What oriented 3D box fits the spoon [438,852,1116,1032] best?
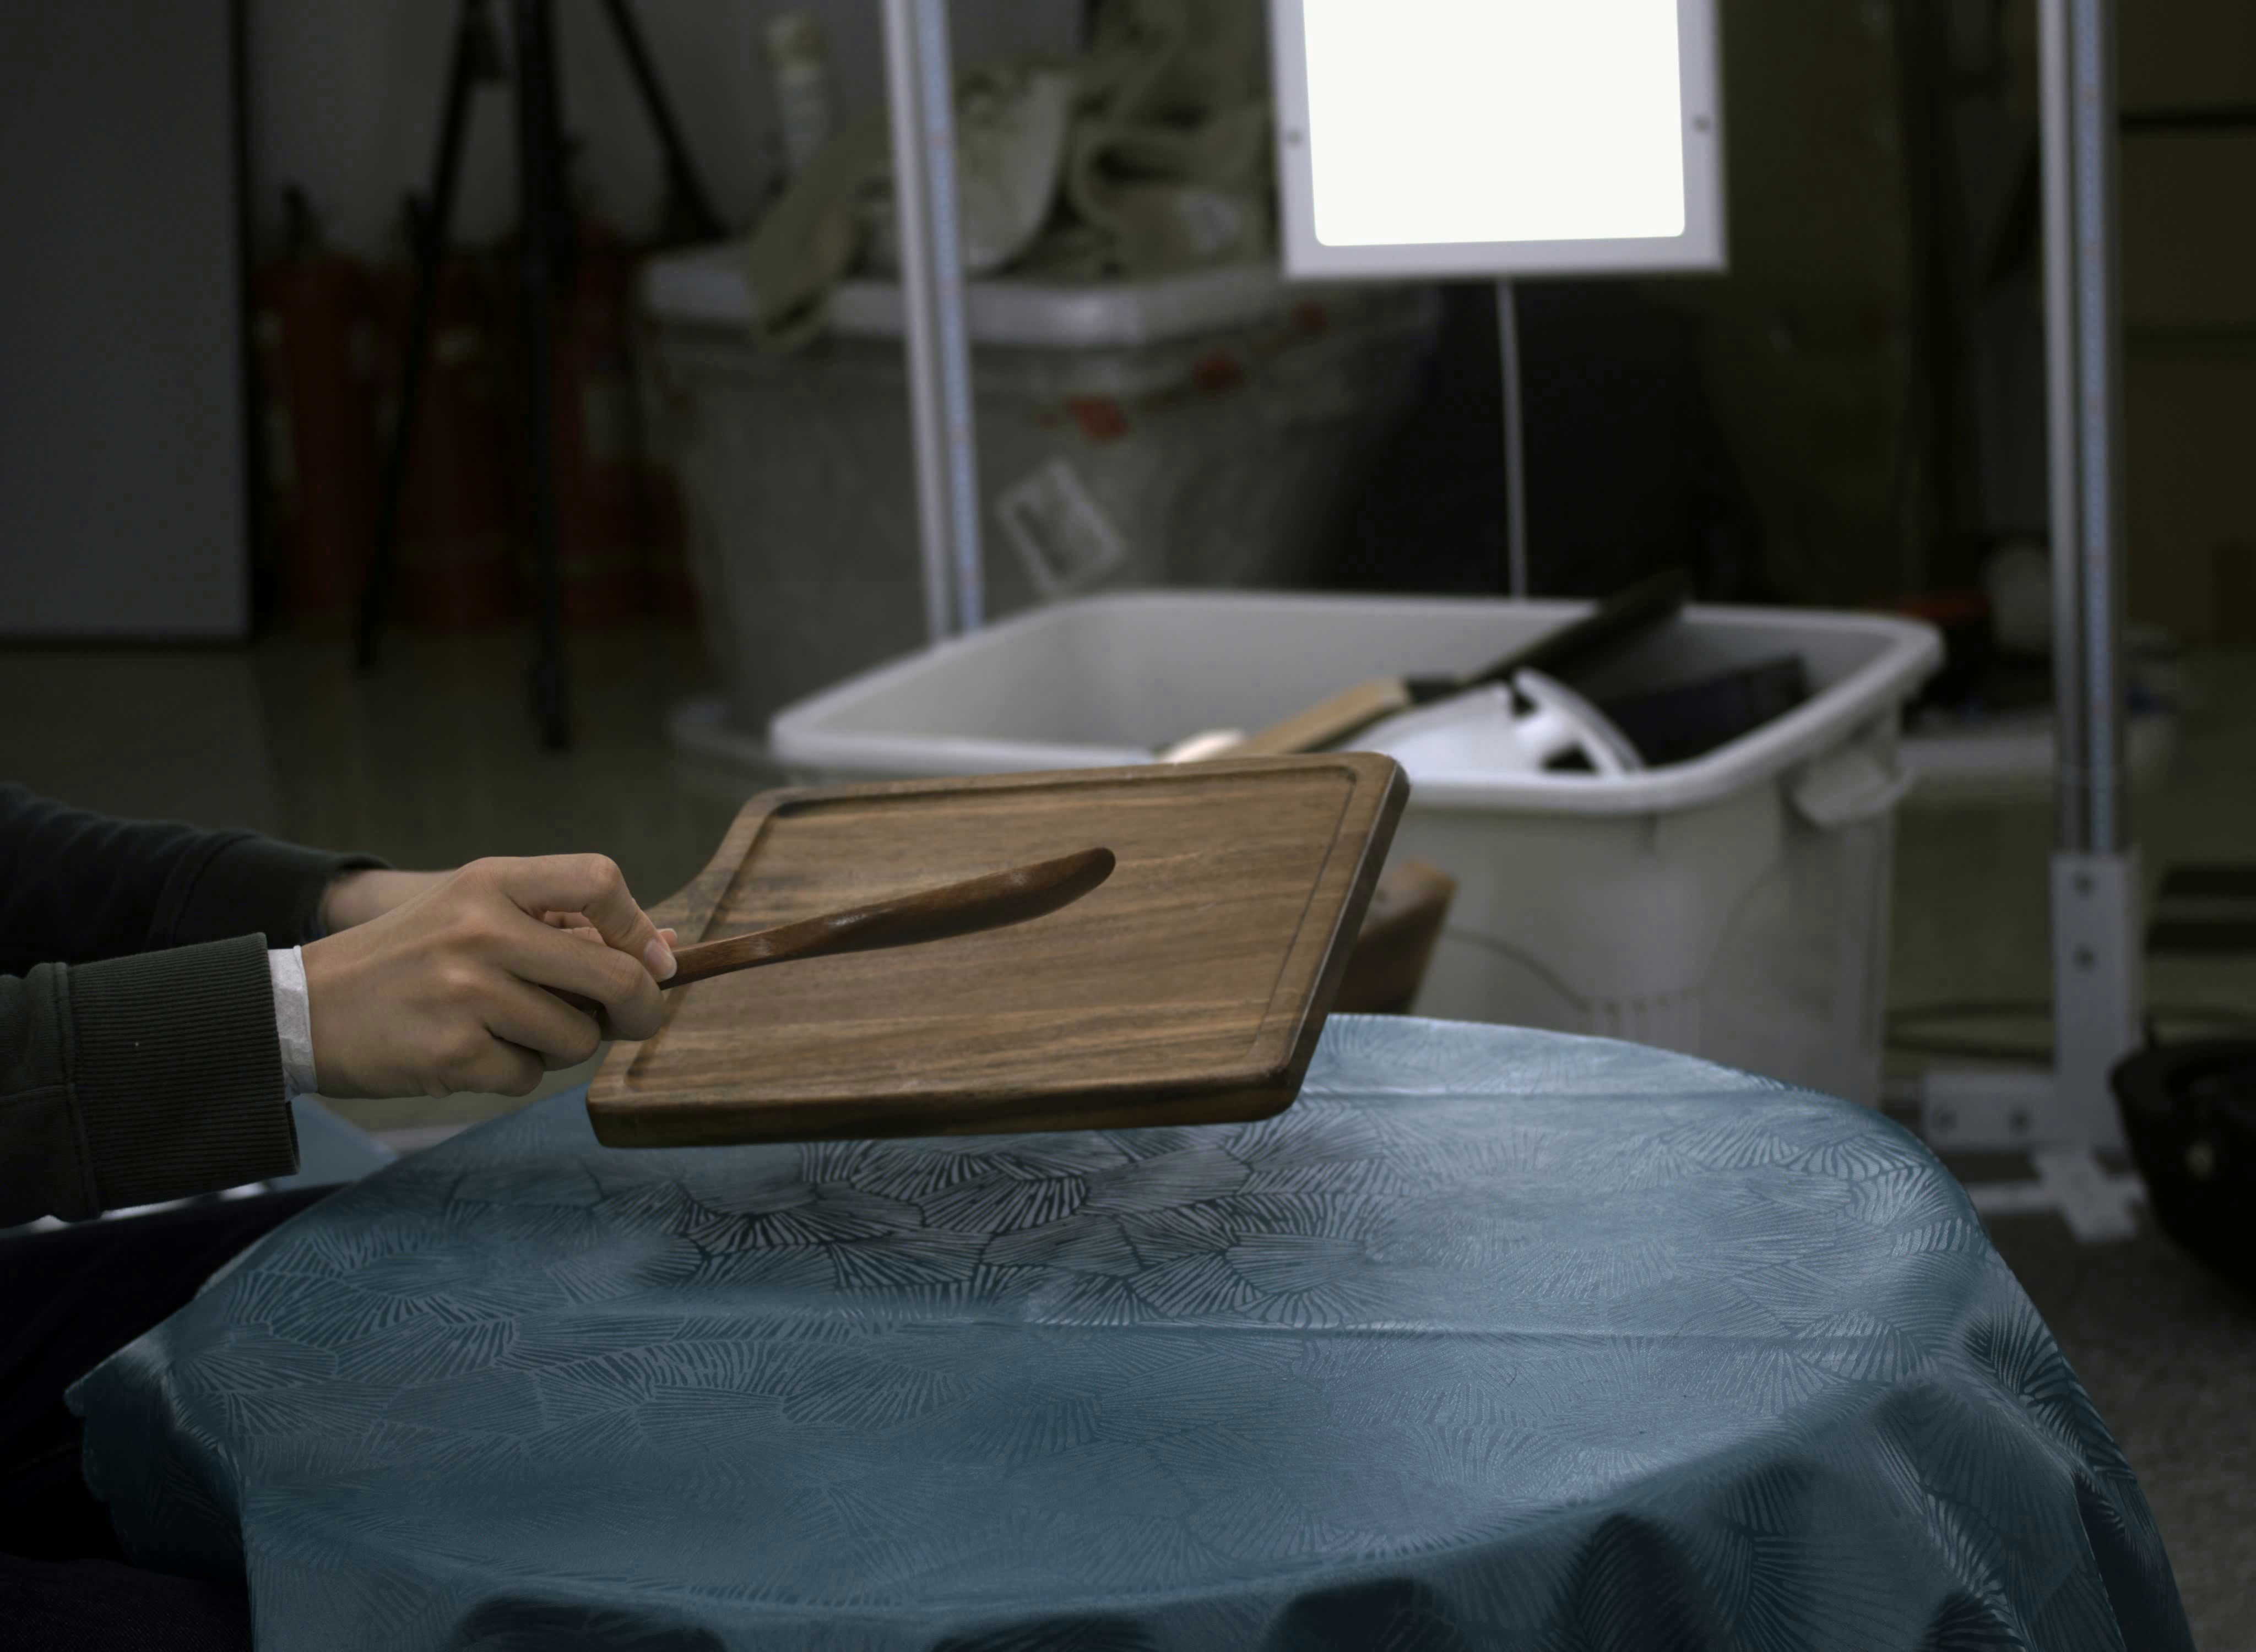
[{"bbox_3d":[-0.108,0.036,1.711,0.215,0.017,0.075,-11,0,0],"label":"spoon"}]

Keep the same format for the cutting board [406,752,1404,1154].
[{"bbox_3d":[-0.089,0.045,1.912,0.357,0.023,0.198,-4,33,22],"label":"cutting board"}]
